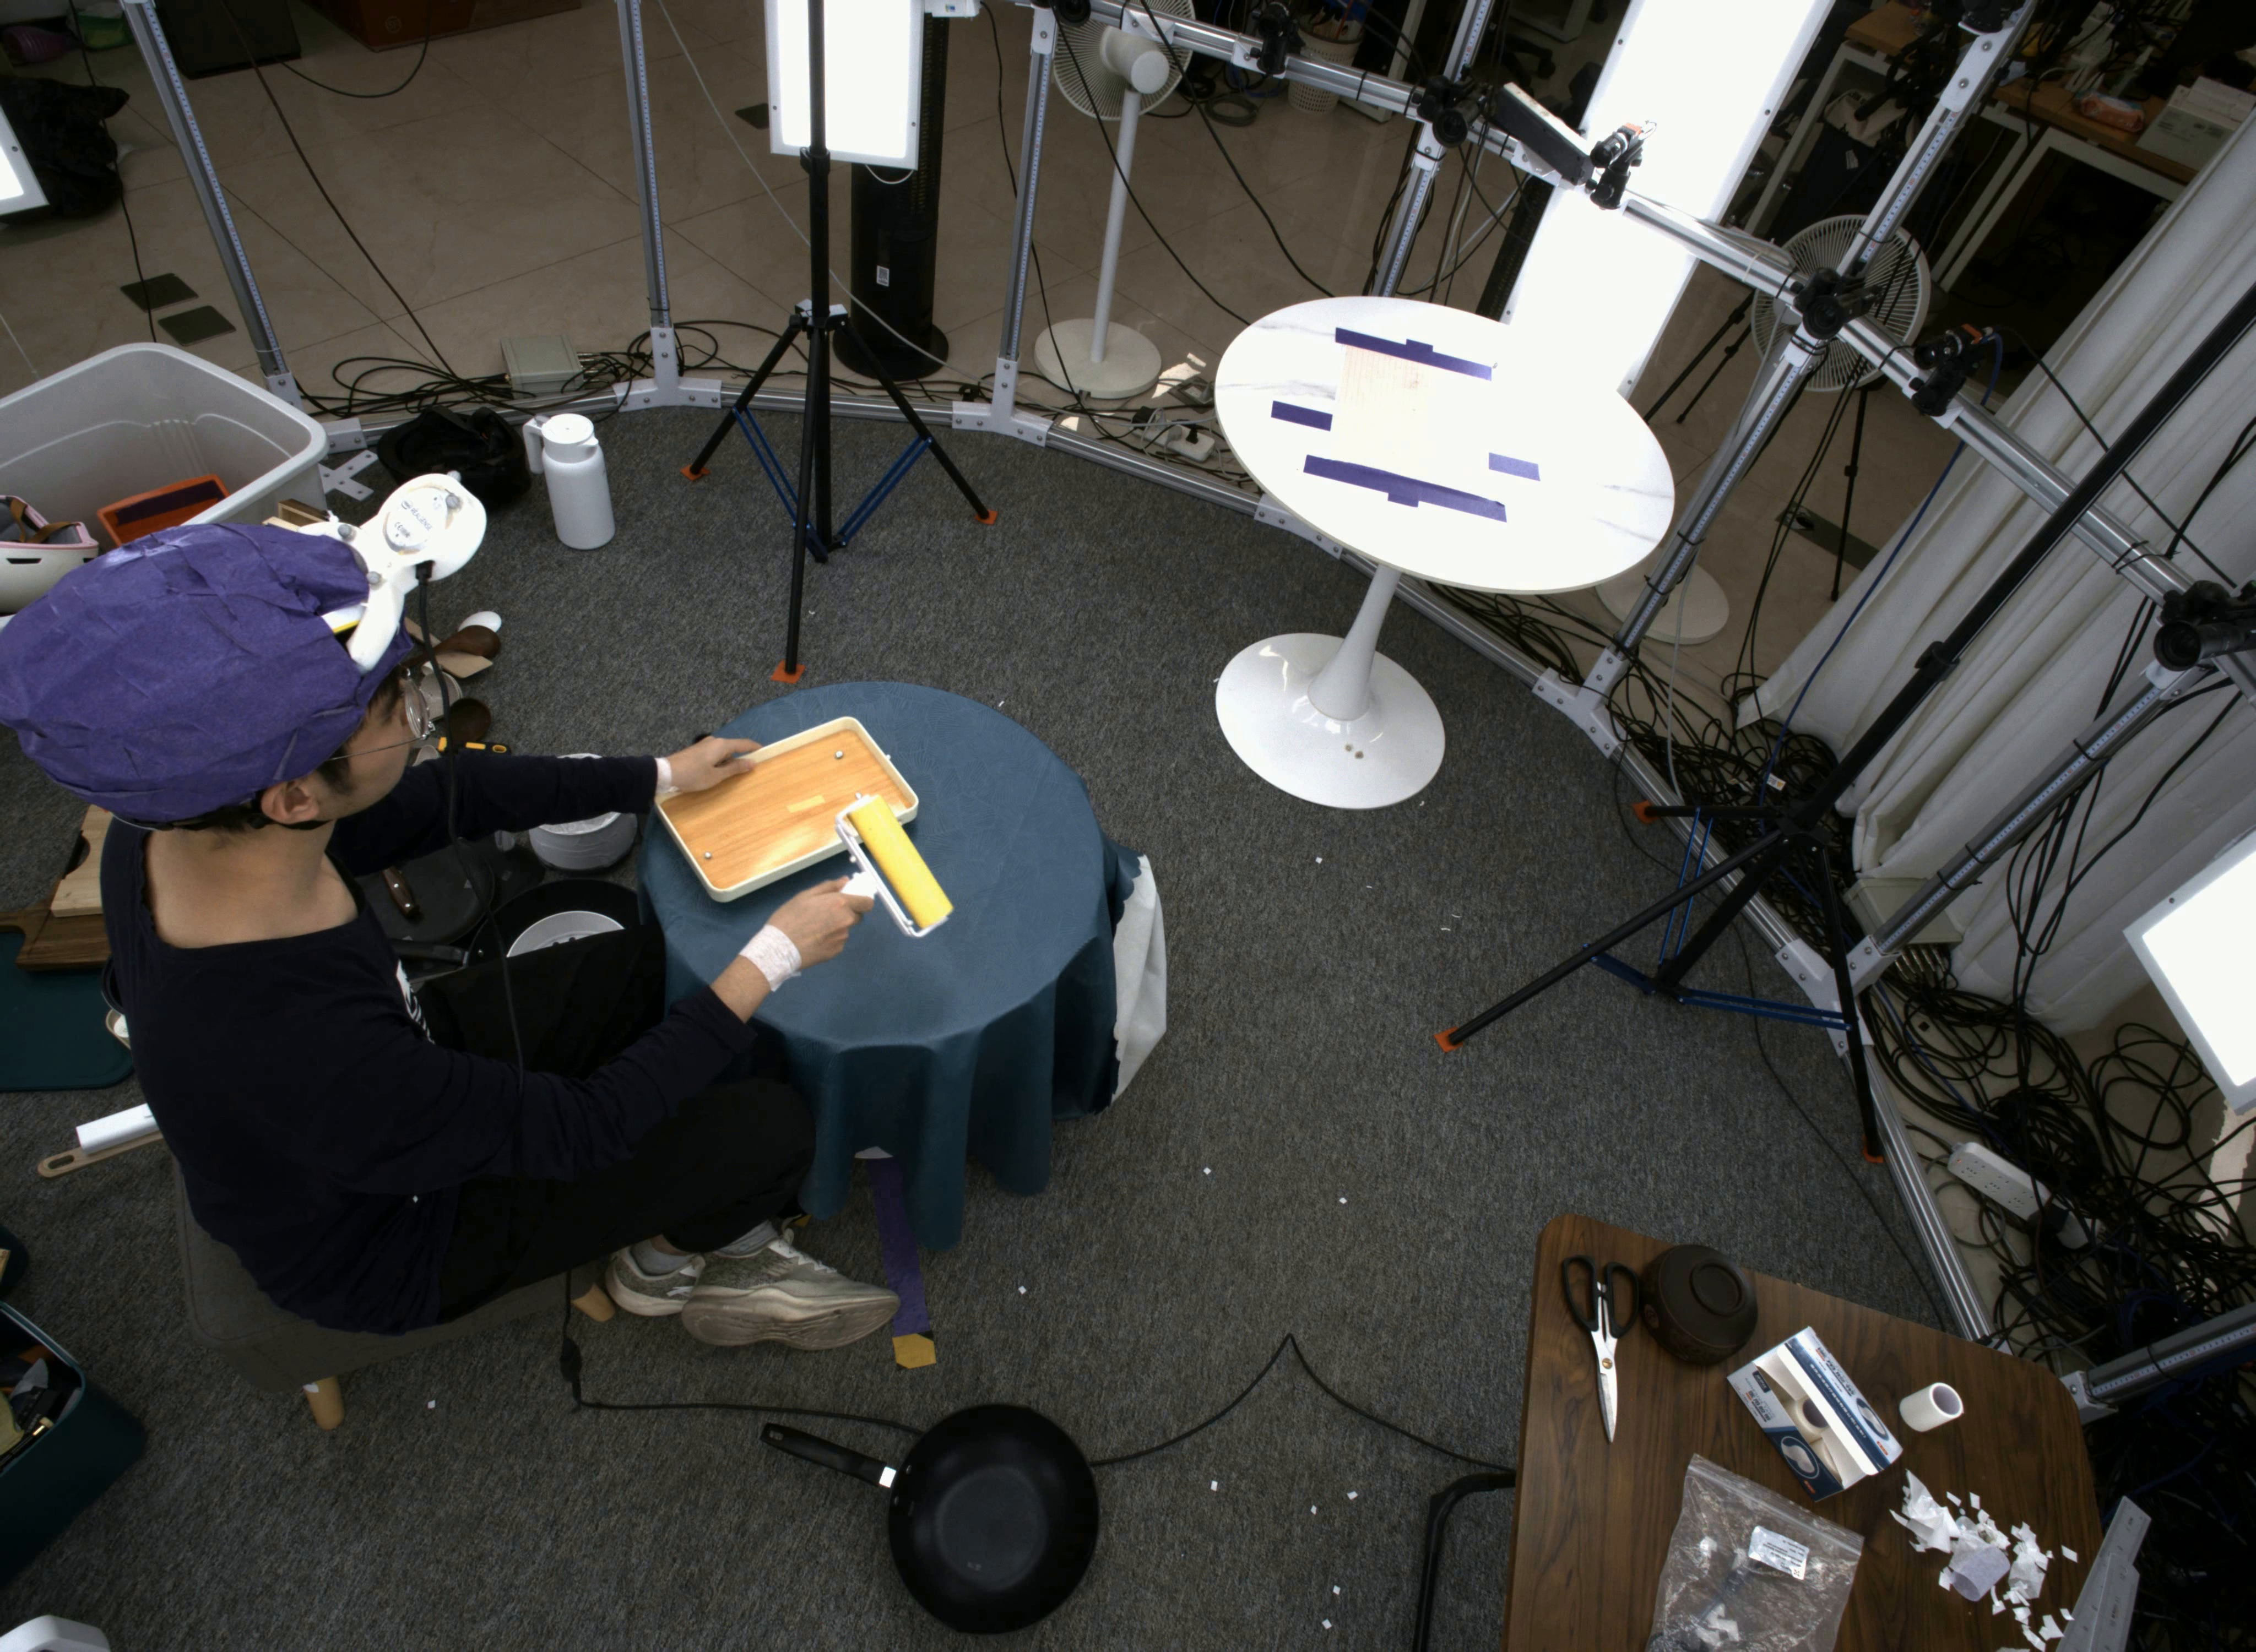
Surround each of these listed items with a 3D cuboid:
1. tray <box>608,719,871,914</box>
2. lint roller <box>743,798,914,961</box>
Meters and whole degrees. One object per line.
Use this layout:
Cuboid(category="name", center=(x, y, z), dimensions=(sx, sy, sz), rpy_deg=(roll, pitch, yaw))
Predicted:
Cuboid(category="tray", center=(-0.508, -0.020, 1.692), dimensions=(0.301, 0.028, 0.187), rpy_deg=(-29, 66, -31))
Cuboid(category="lint roller", center=(-0.357, 0.084, 1.472), dimensions=(0.177, 0.050, 0.192), rpy_deg=(54, 46, -10))
